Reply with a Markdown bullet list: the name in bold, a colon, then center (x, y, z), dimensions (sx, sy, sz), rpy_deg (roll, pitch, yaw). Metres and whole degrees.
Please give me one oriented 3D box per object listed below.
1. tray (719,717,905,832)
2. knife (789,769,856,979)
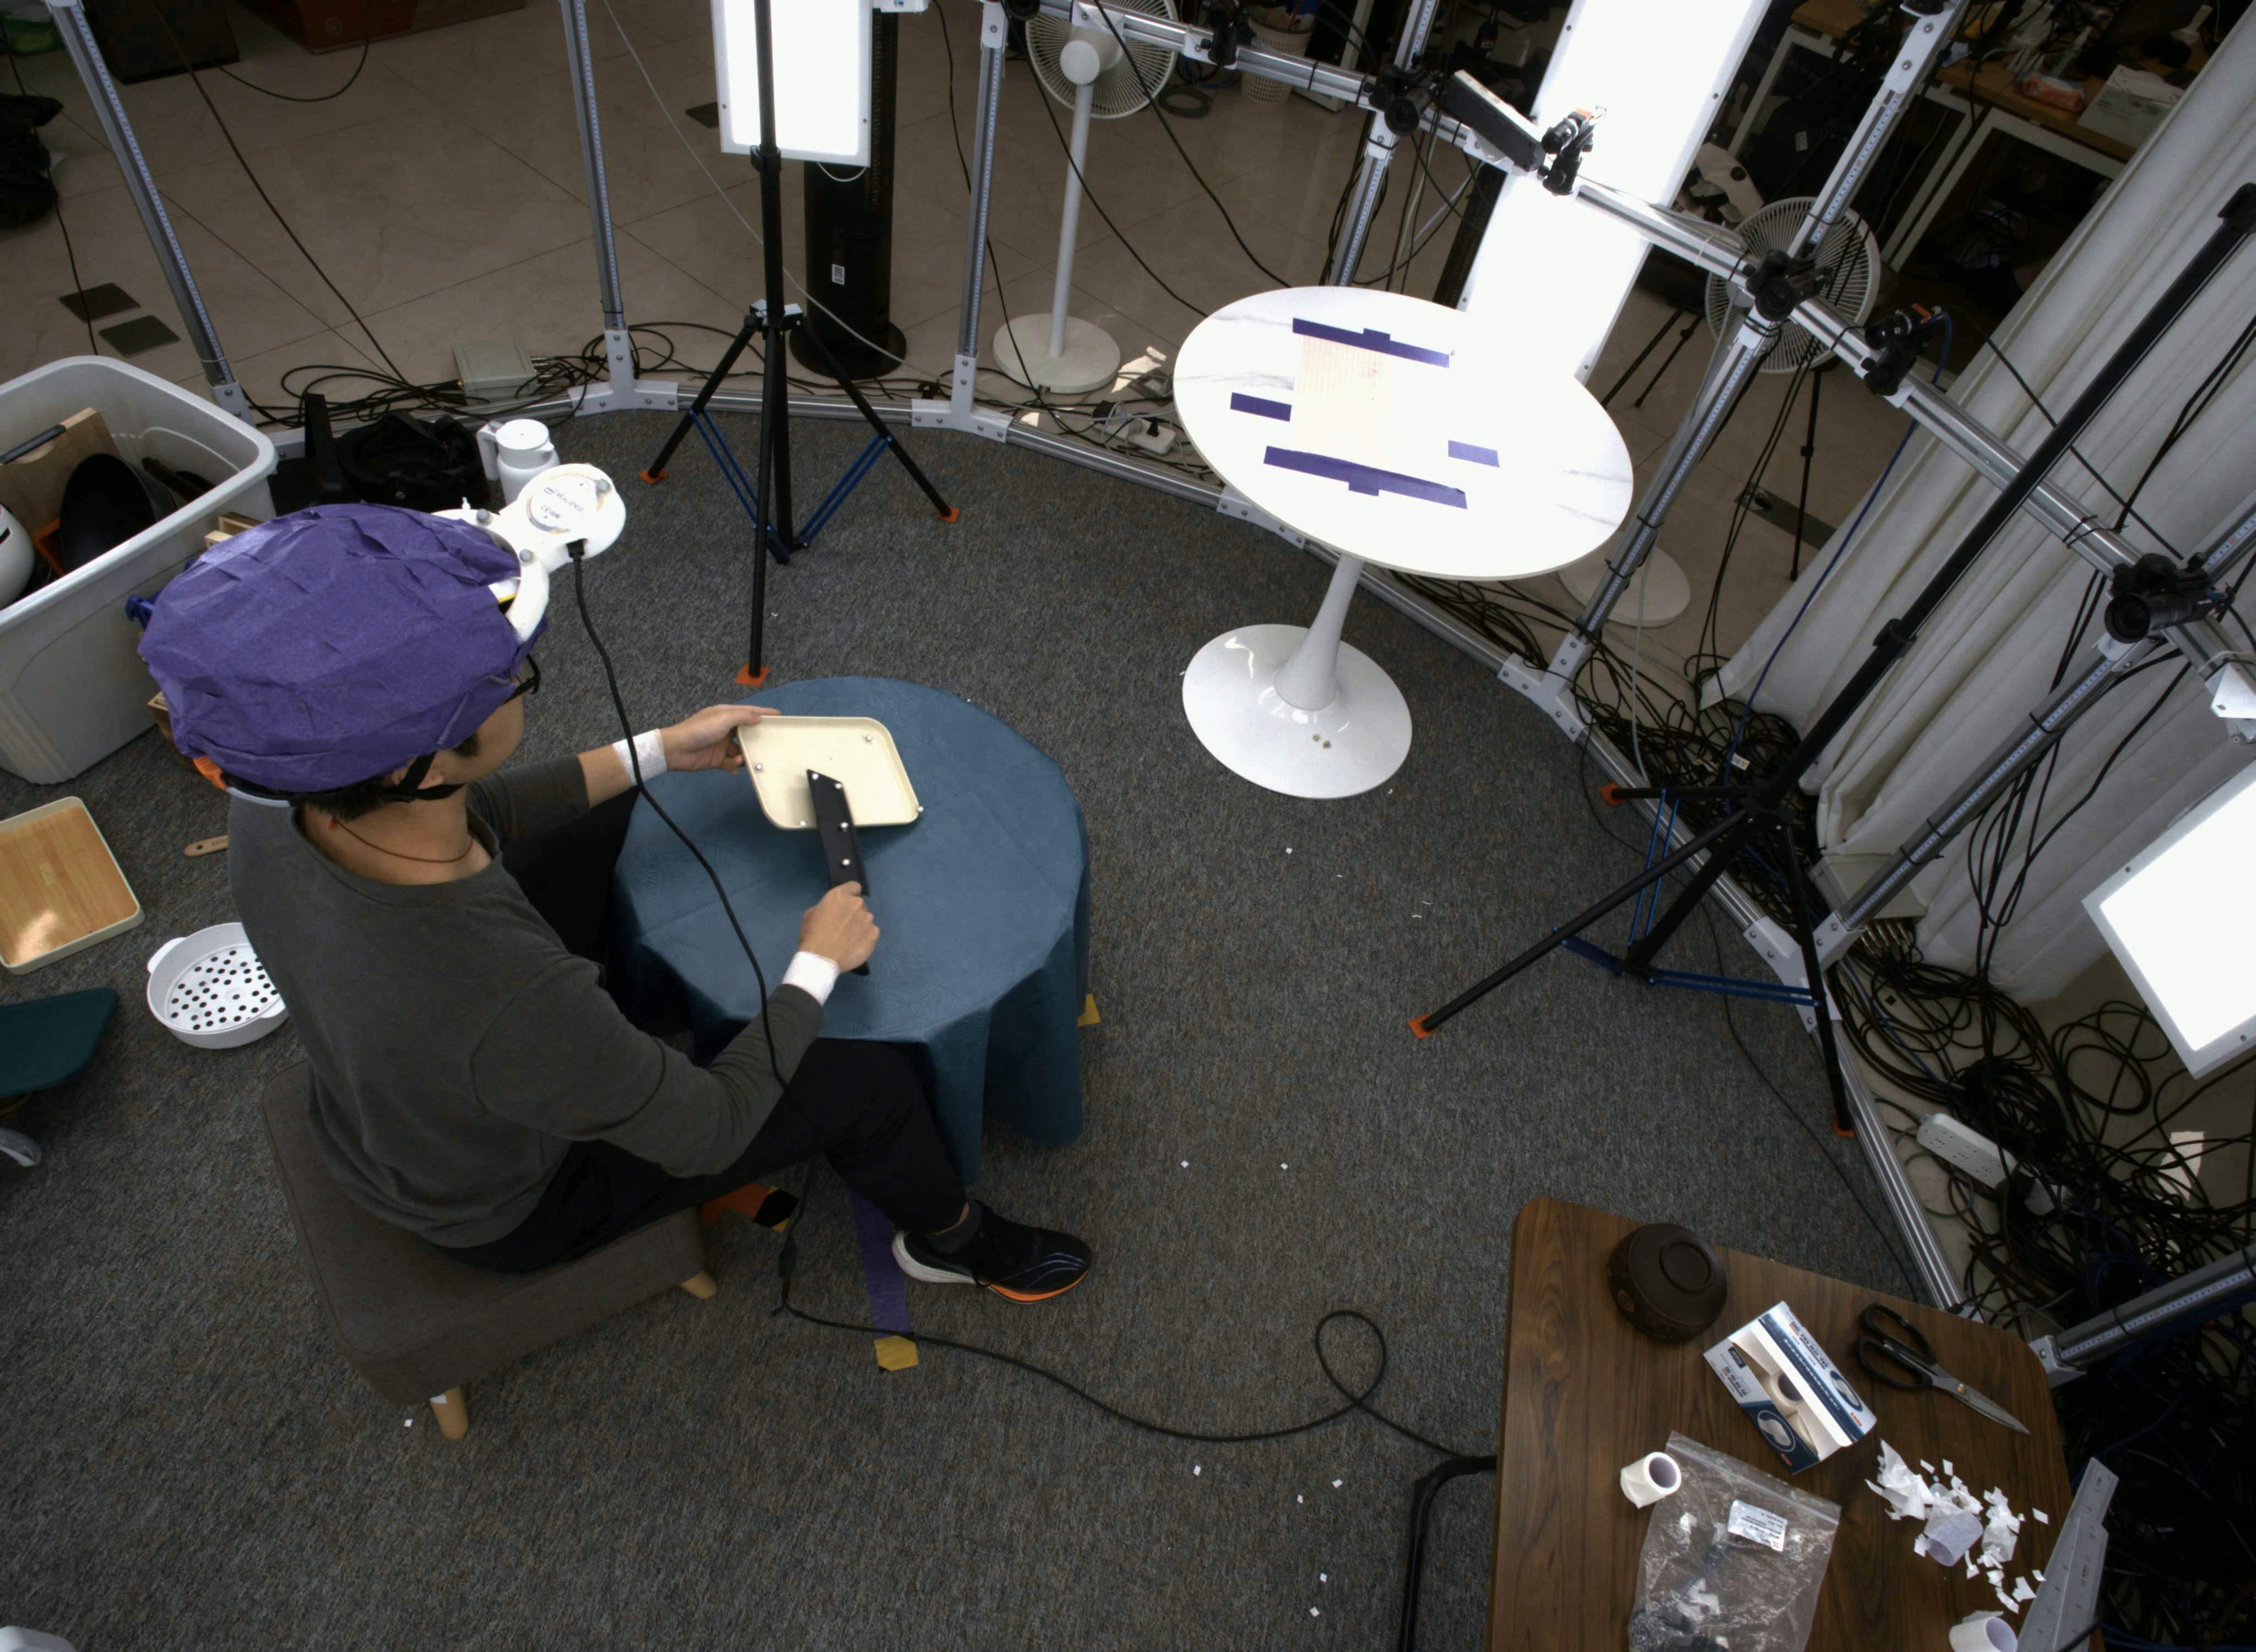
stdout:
- **tray**: center (-0.414, -0.069, 1.705), dimensions (0.244, 0.017, 0.169), rpy_deg (-5, 63, -48)
- **knife**: center (-0.373, 0.054, 1.608), dimensions (0.083, 0.020, 0.295), rpy_deg (28, 36, -49)
